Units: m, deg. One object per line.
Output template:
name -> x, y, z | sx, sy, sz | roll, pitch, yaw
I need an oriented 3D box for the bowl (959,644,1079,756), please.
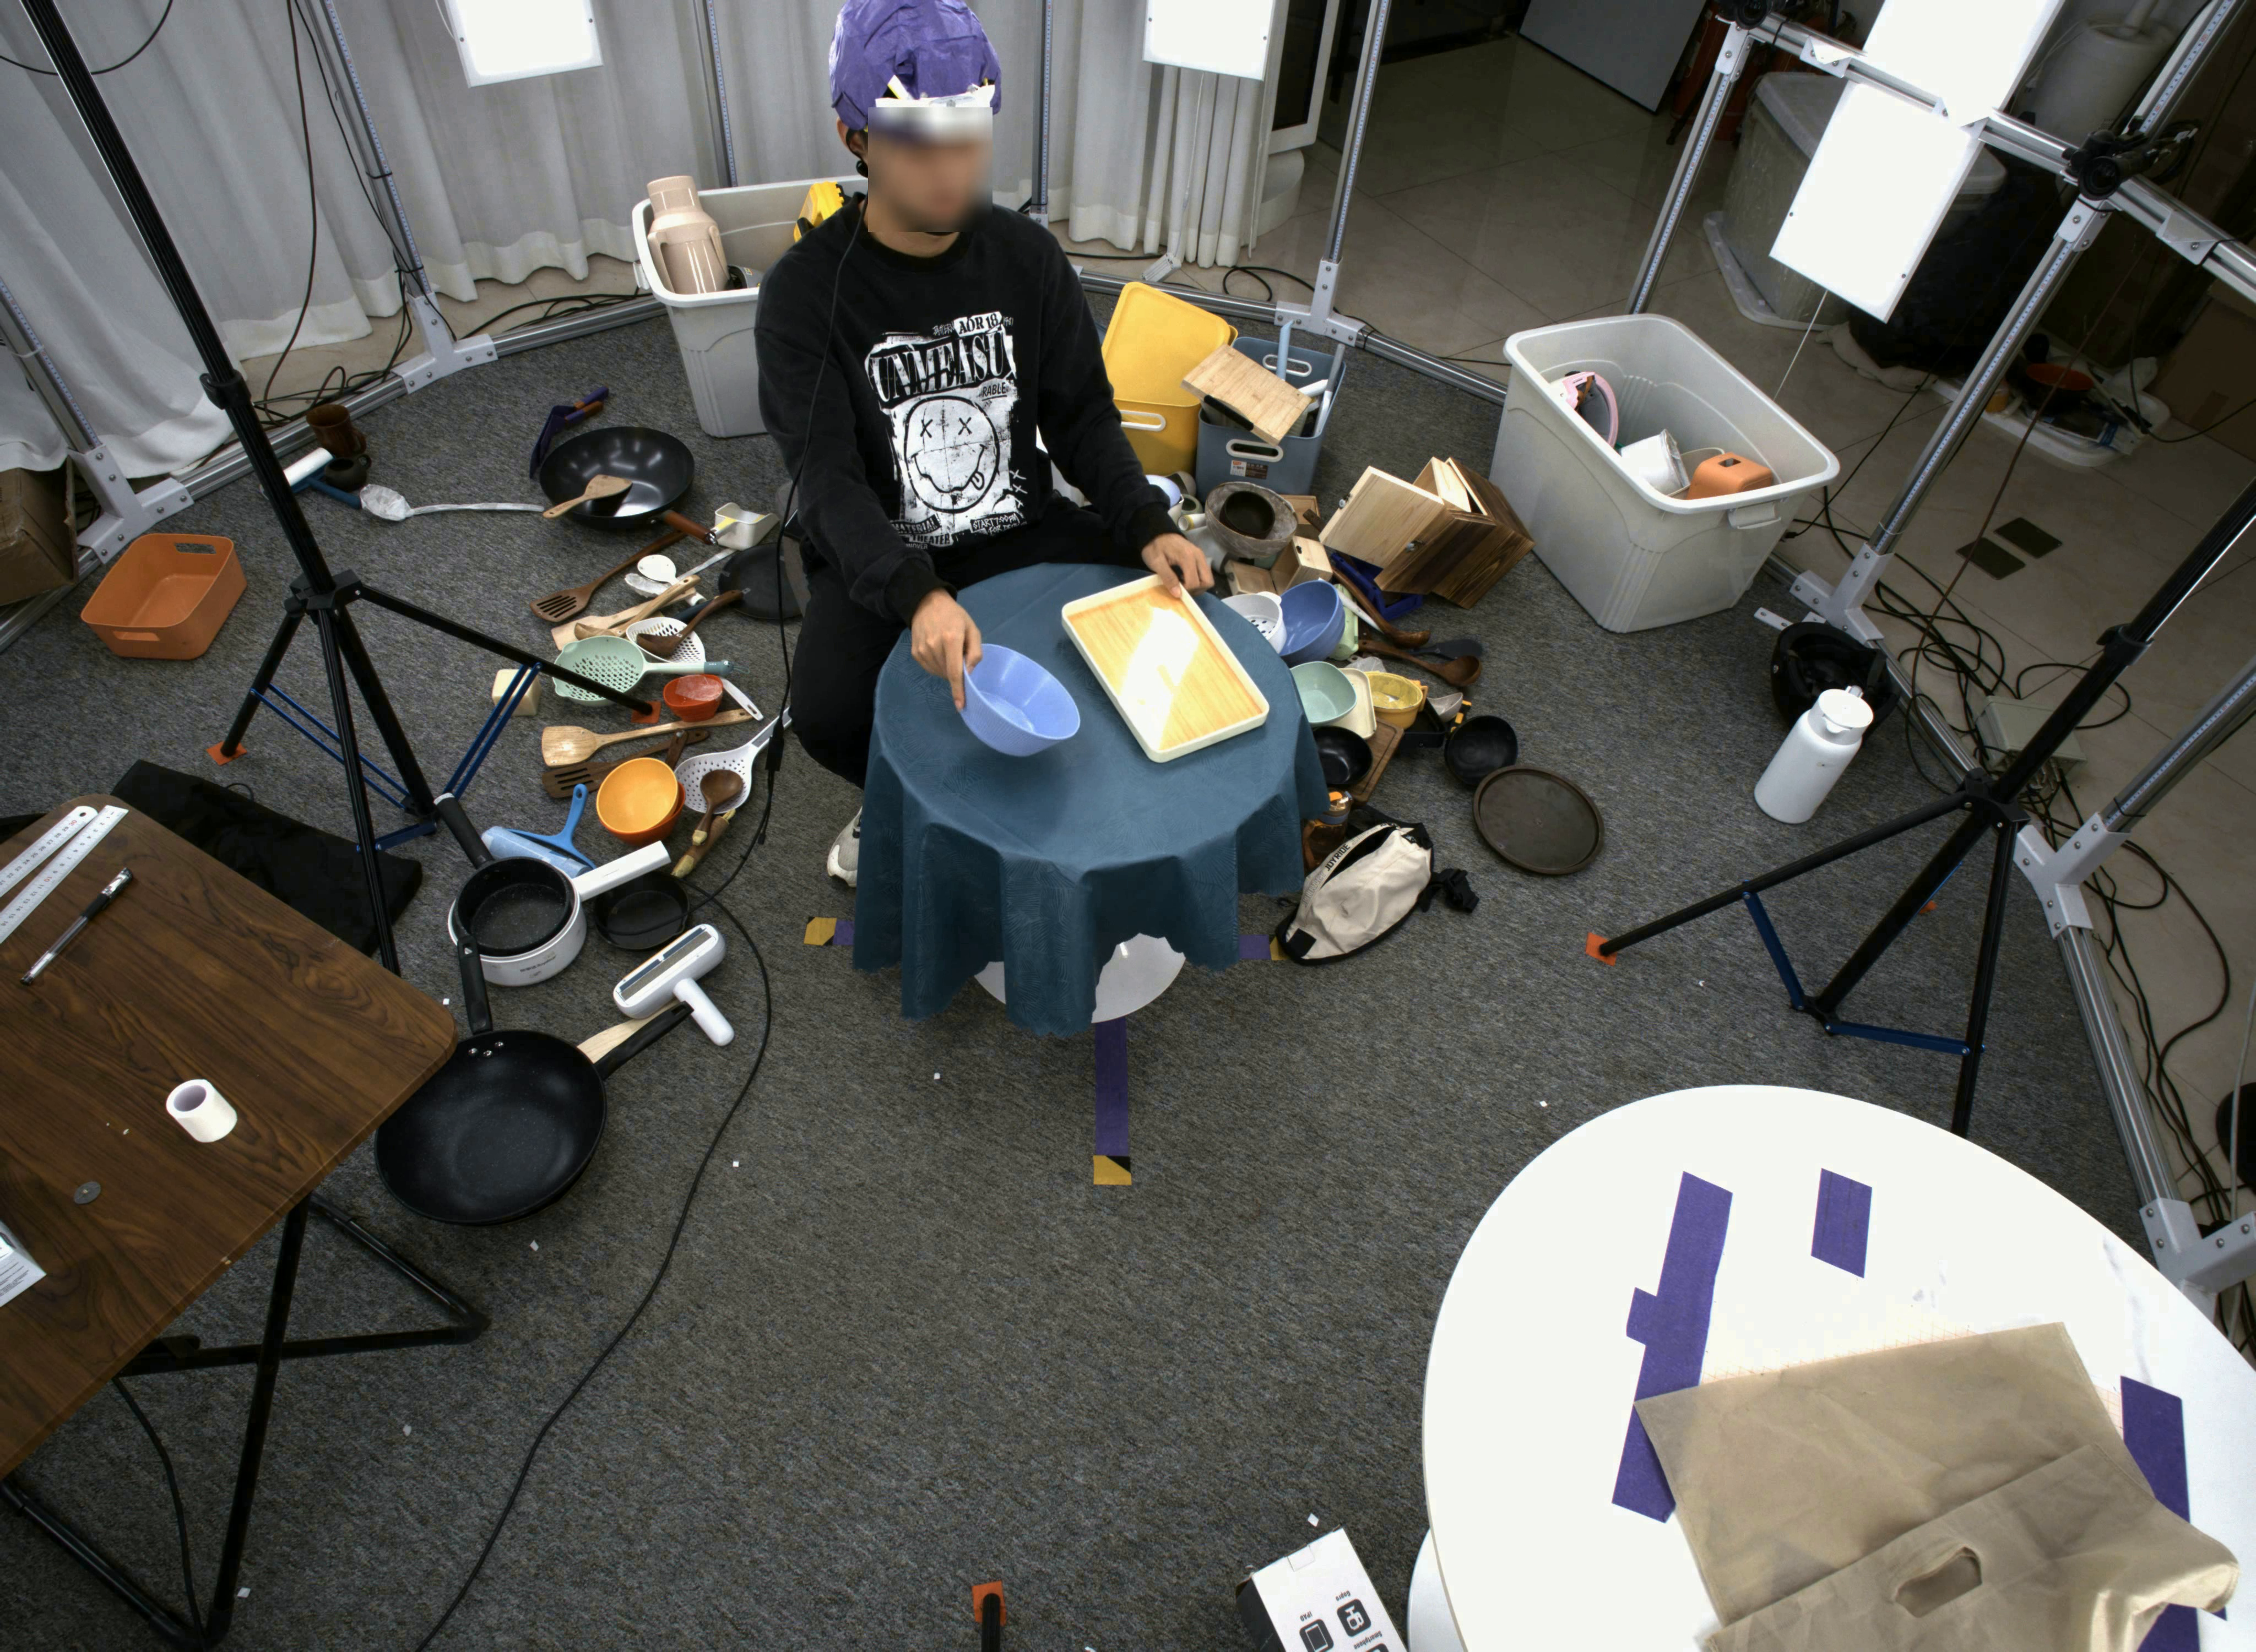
bowl -> -0.154, -0.155, 1.684 | 0.174, 0.069, 0.180 | 30, 29, -19

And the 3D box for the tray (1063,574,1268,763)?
tray -> 0.050, -0.233, 1.852 | 0.192, 0.027, 0.306 | -21, 59, -19
